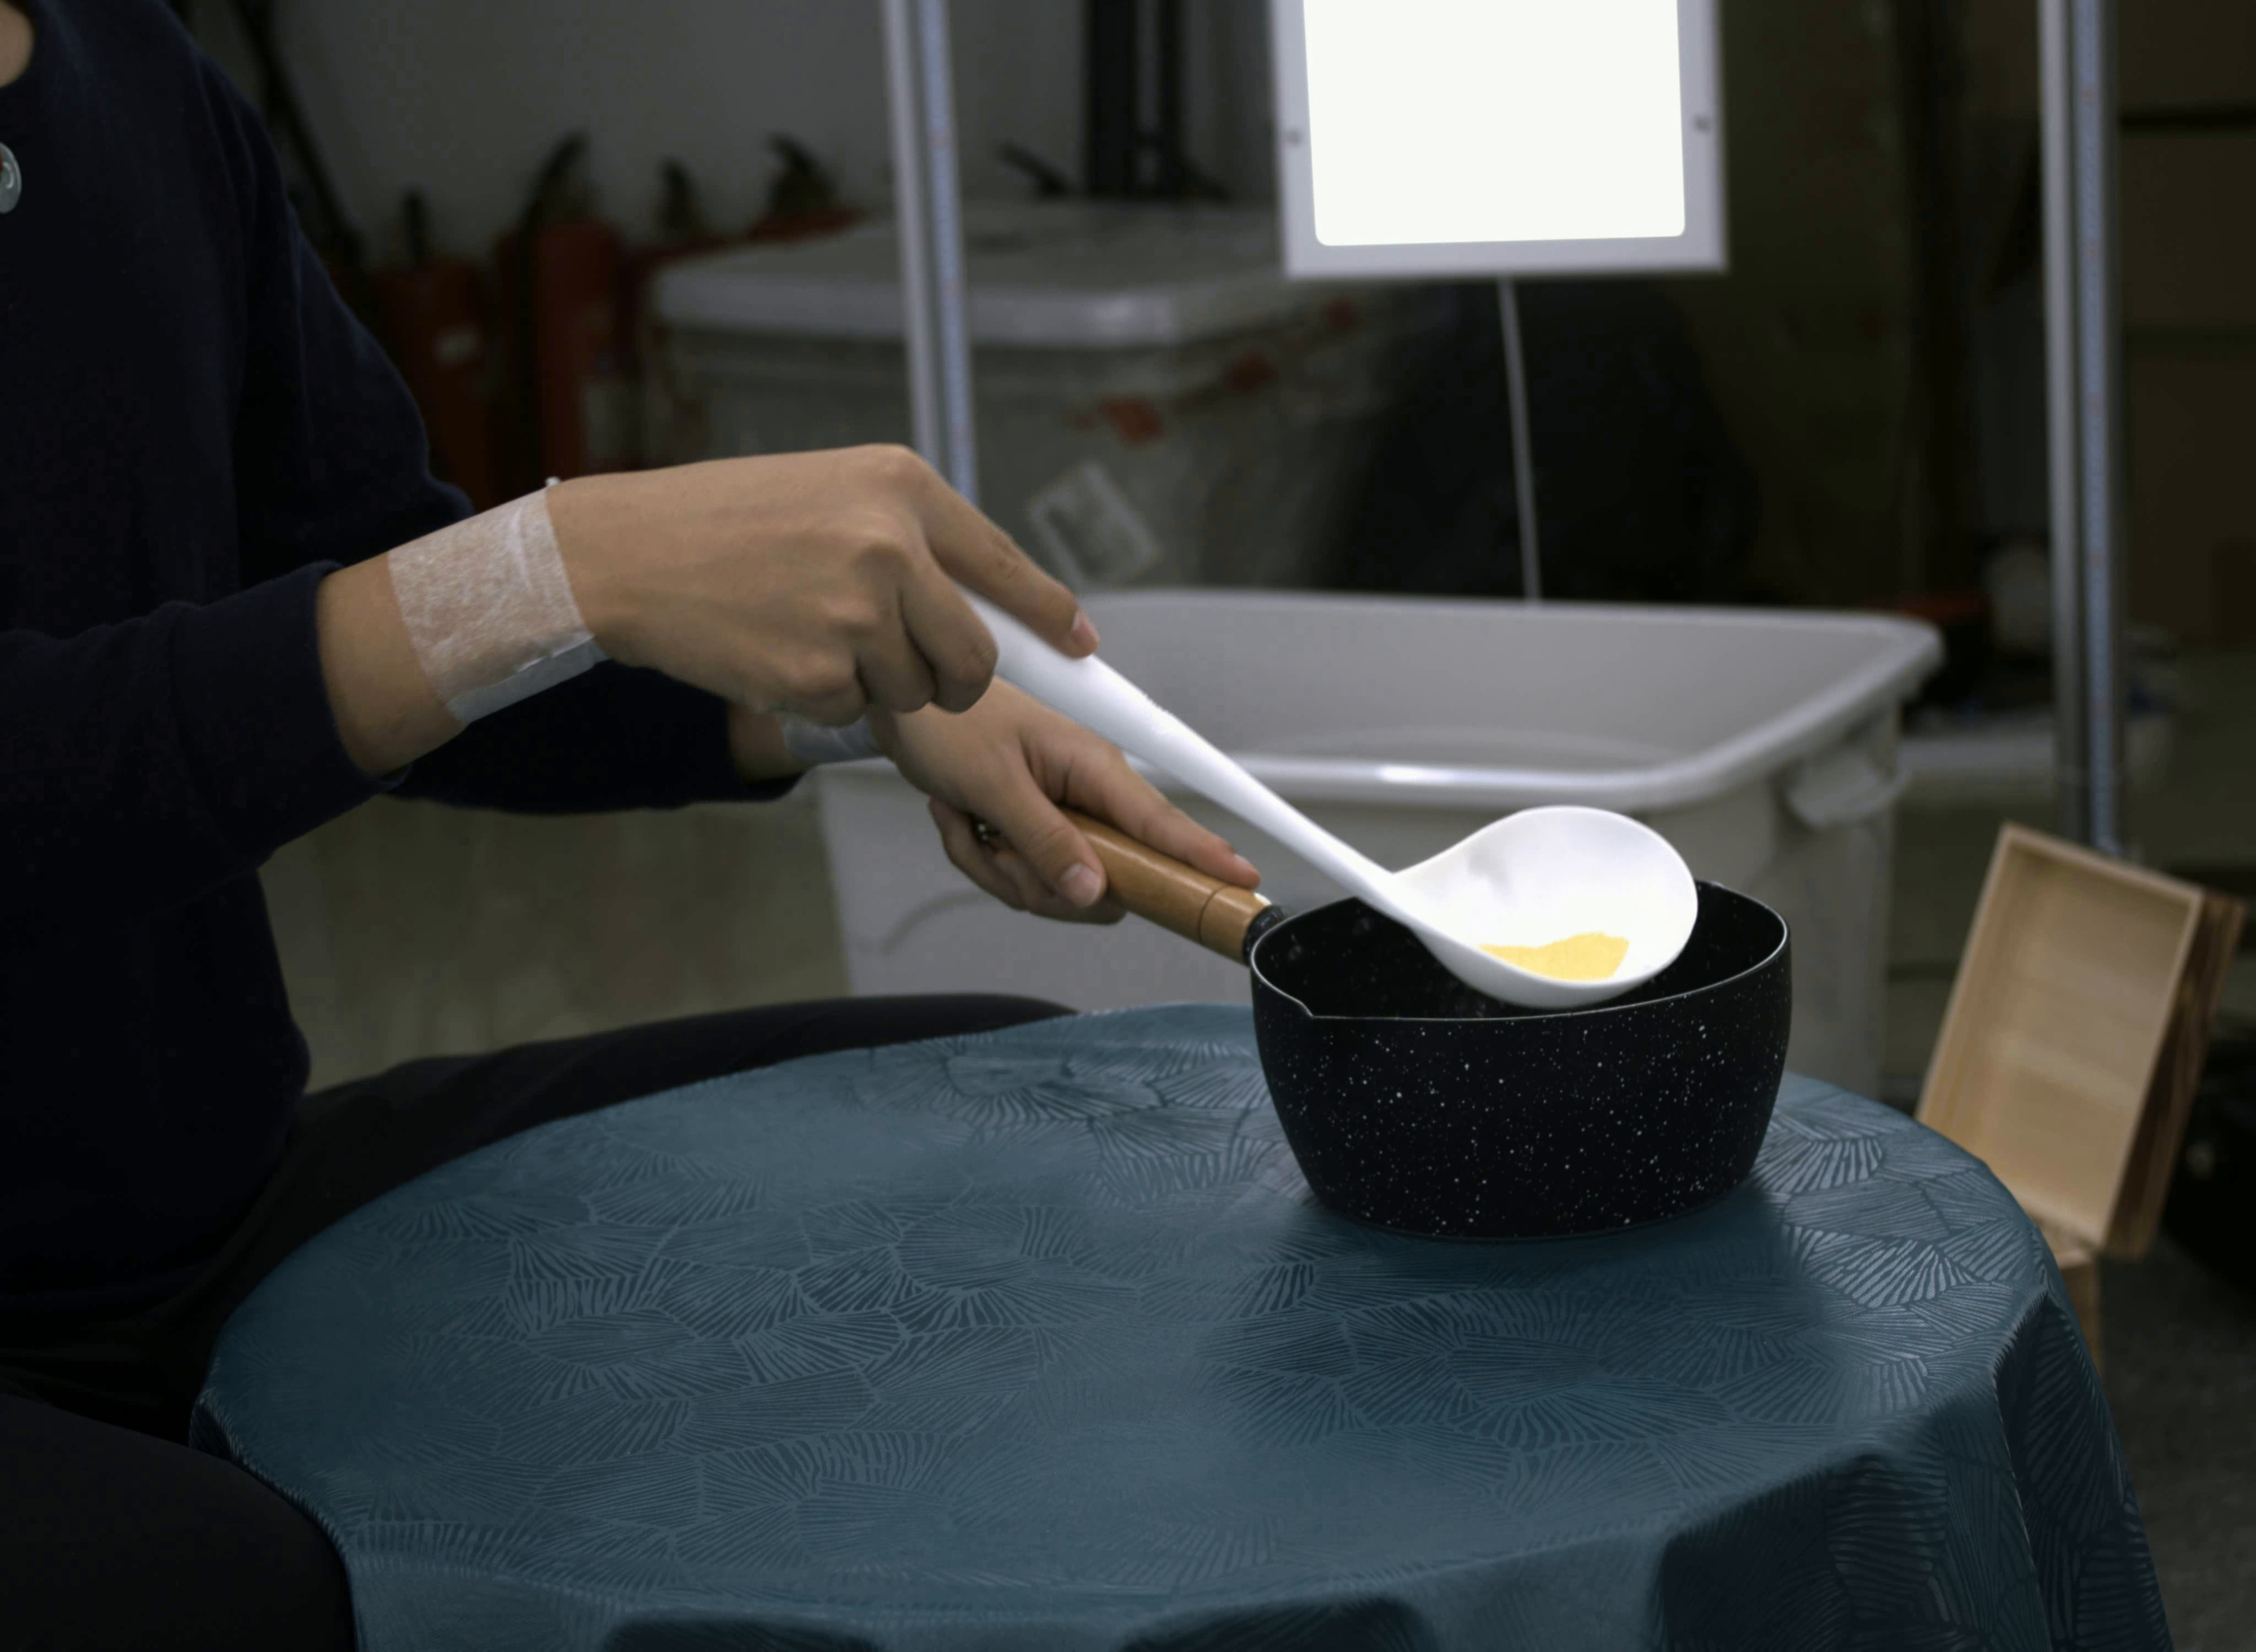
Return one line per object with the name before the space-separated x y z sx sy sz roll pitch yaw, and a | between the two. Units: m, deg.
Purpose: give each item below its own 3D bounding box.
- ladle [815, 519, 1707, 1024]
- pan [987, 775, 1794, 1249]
ladle | 0.044 -0.022 1.671 0.289 0.071 0.089 30 40 -21
pan | 0.077 0.058 1.918 0.350 0.108 0.202 11 22 43
